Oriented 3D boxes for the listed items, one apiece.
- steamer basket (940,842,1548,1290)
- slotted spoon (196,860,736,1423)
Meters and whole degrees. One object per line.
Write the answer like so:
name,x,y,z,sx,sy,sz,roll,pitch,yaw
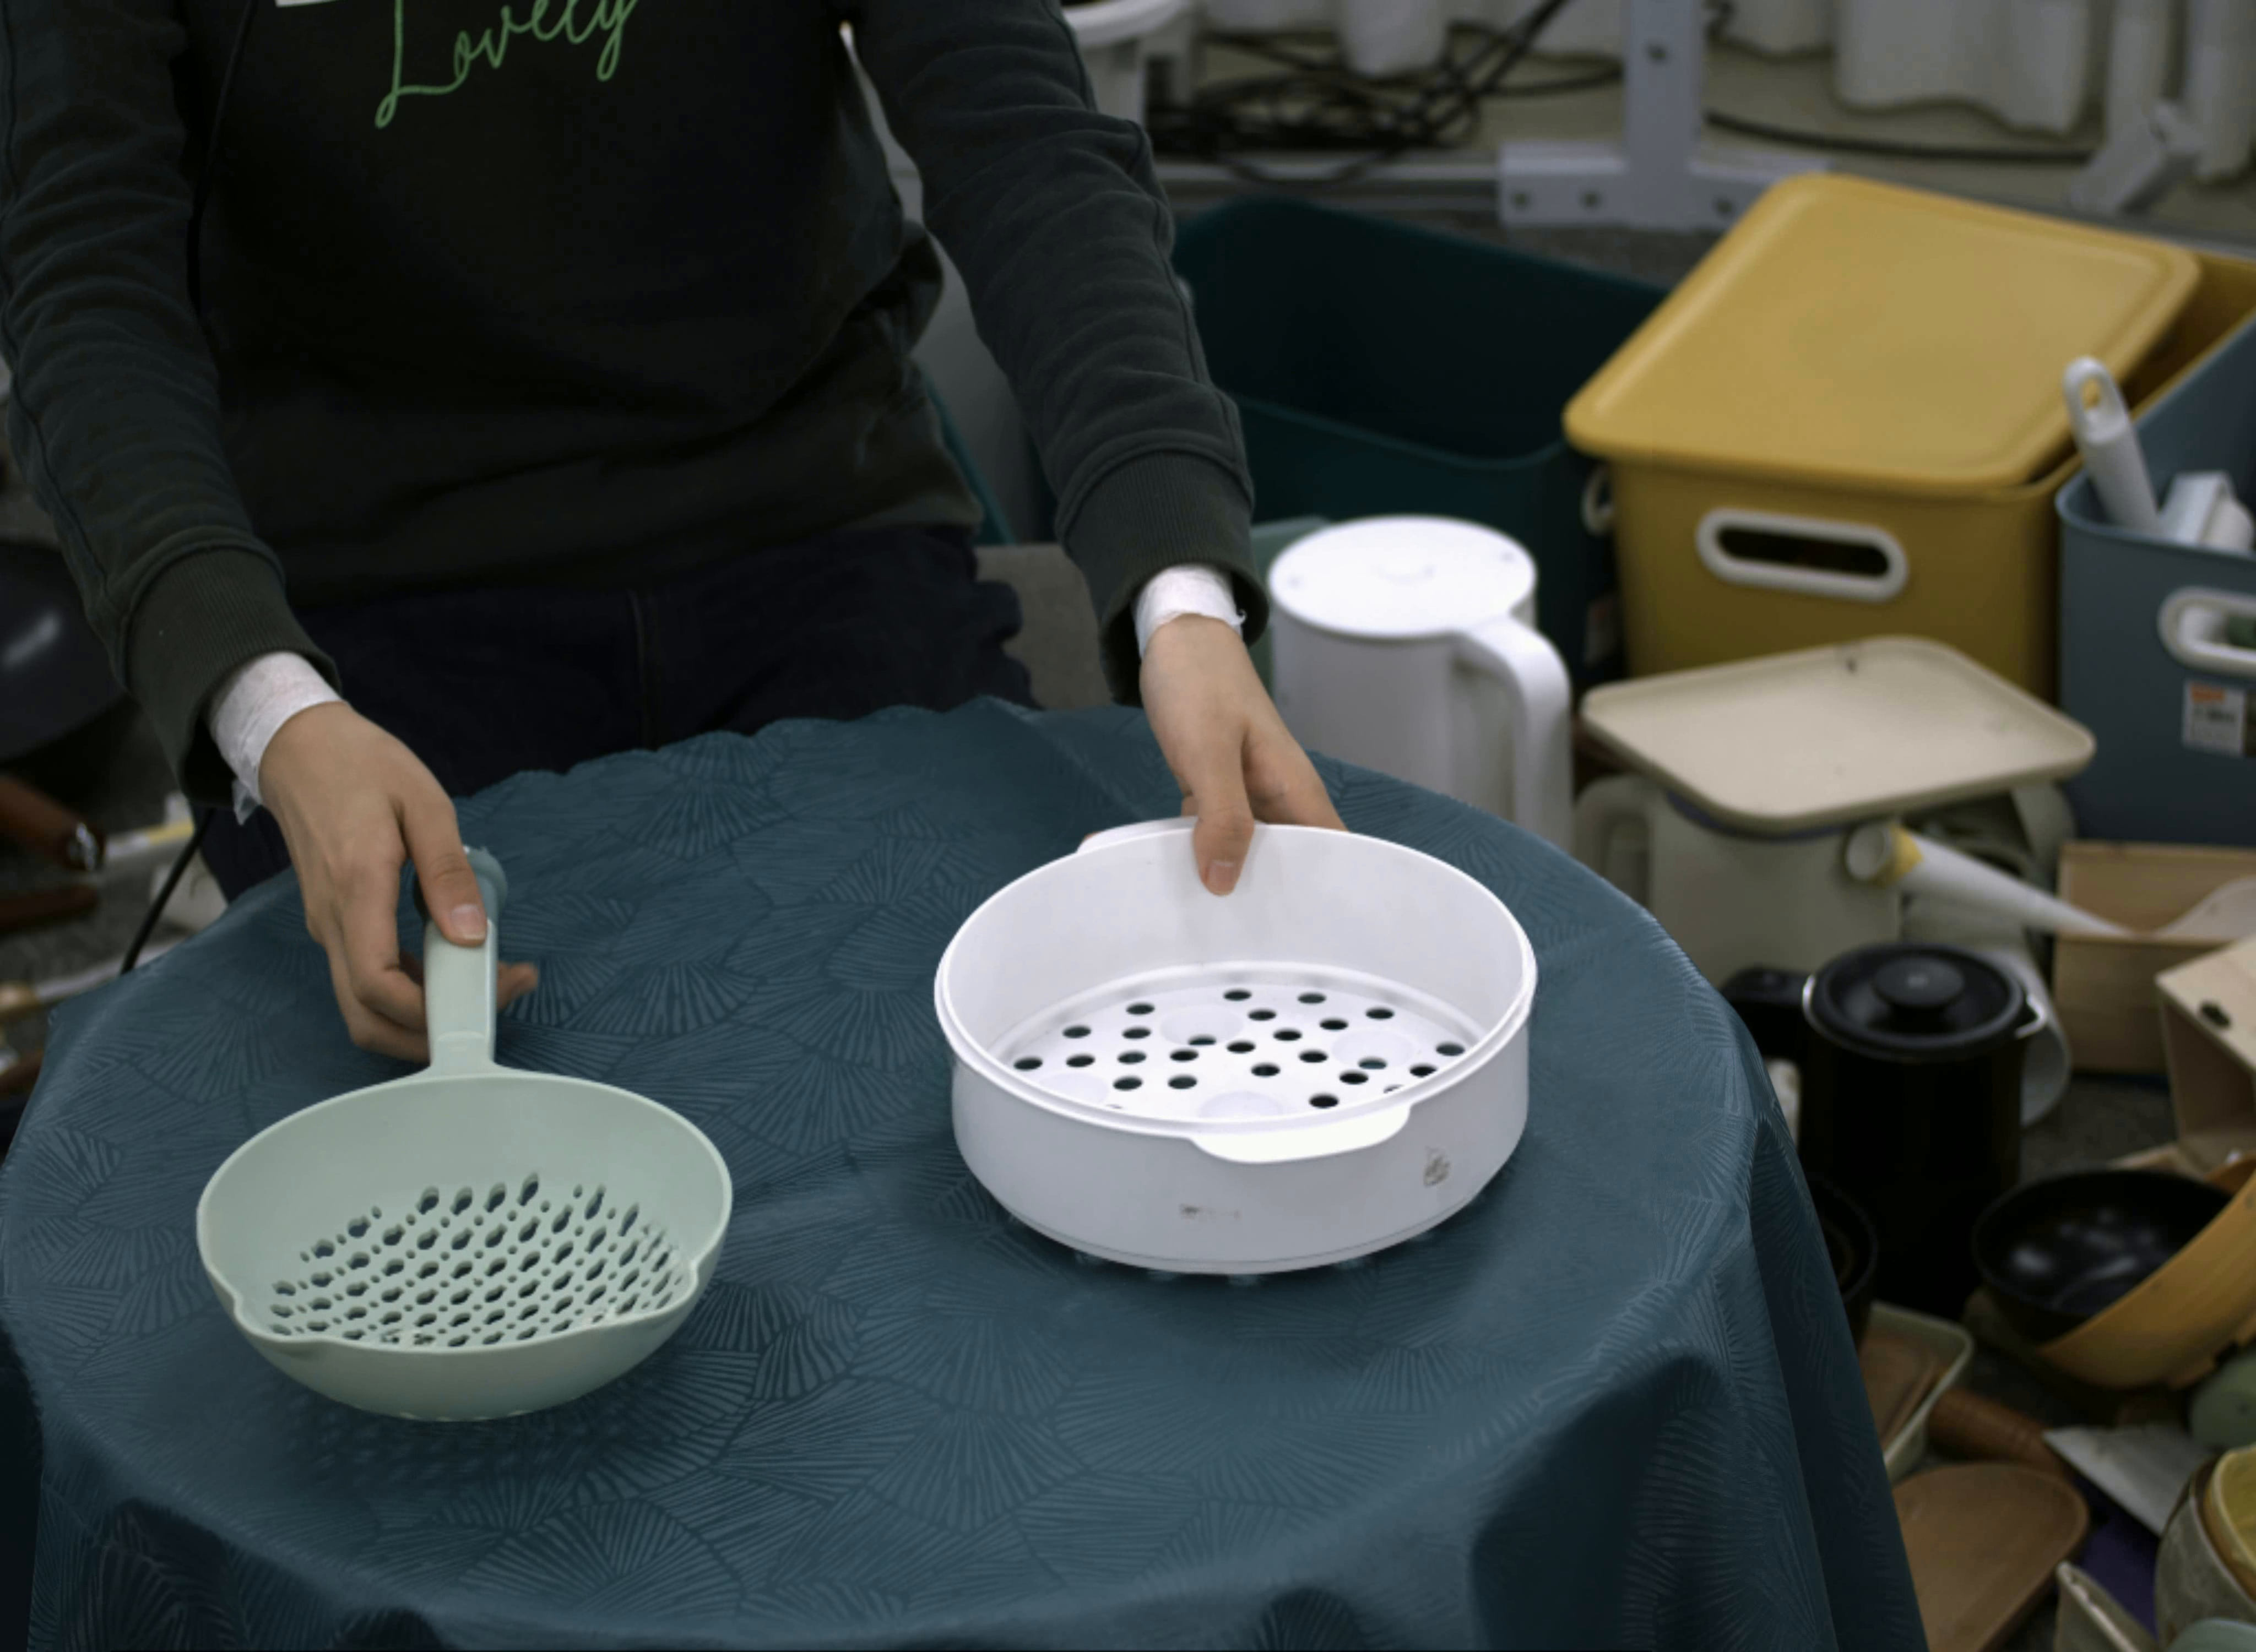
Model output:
steamer basket,0.039,0.081,1.869,0.202,0.068,0.233,-6,26,-11
slotted spoon,-0.218,0.088,1.857,0.169,0.074,0.364,-2,33,-6
